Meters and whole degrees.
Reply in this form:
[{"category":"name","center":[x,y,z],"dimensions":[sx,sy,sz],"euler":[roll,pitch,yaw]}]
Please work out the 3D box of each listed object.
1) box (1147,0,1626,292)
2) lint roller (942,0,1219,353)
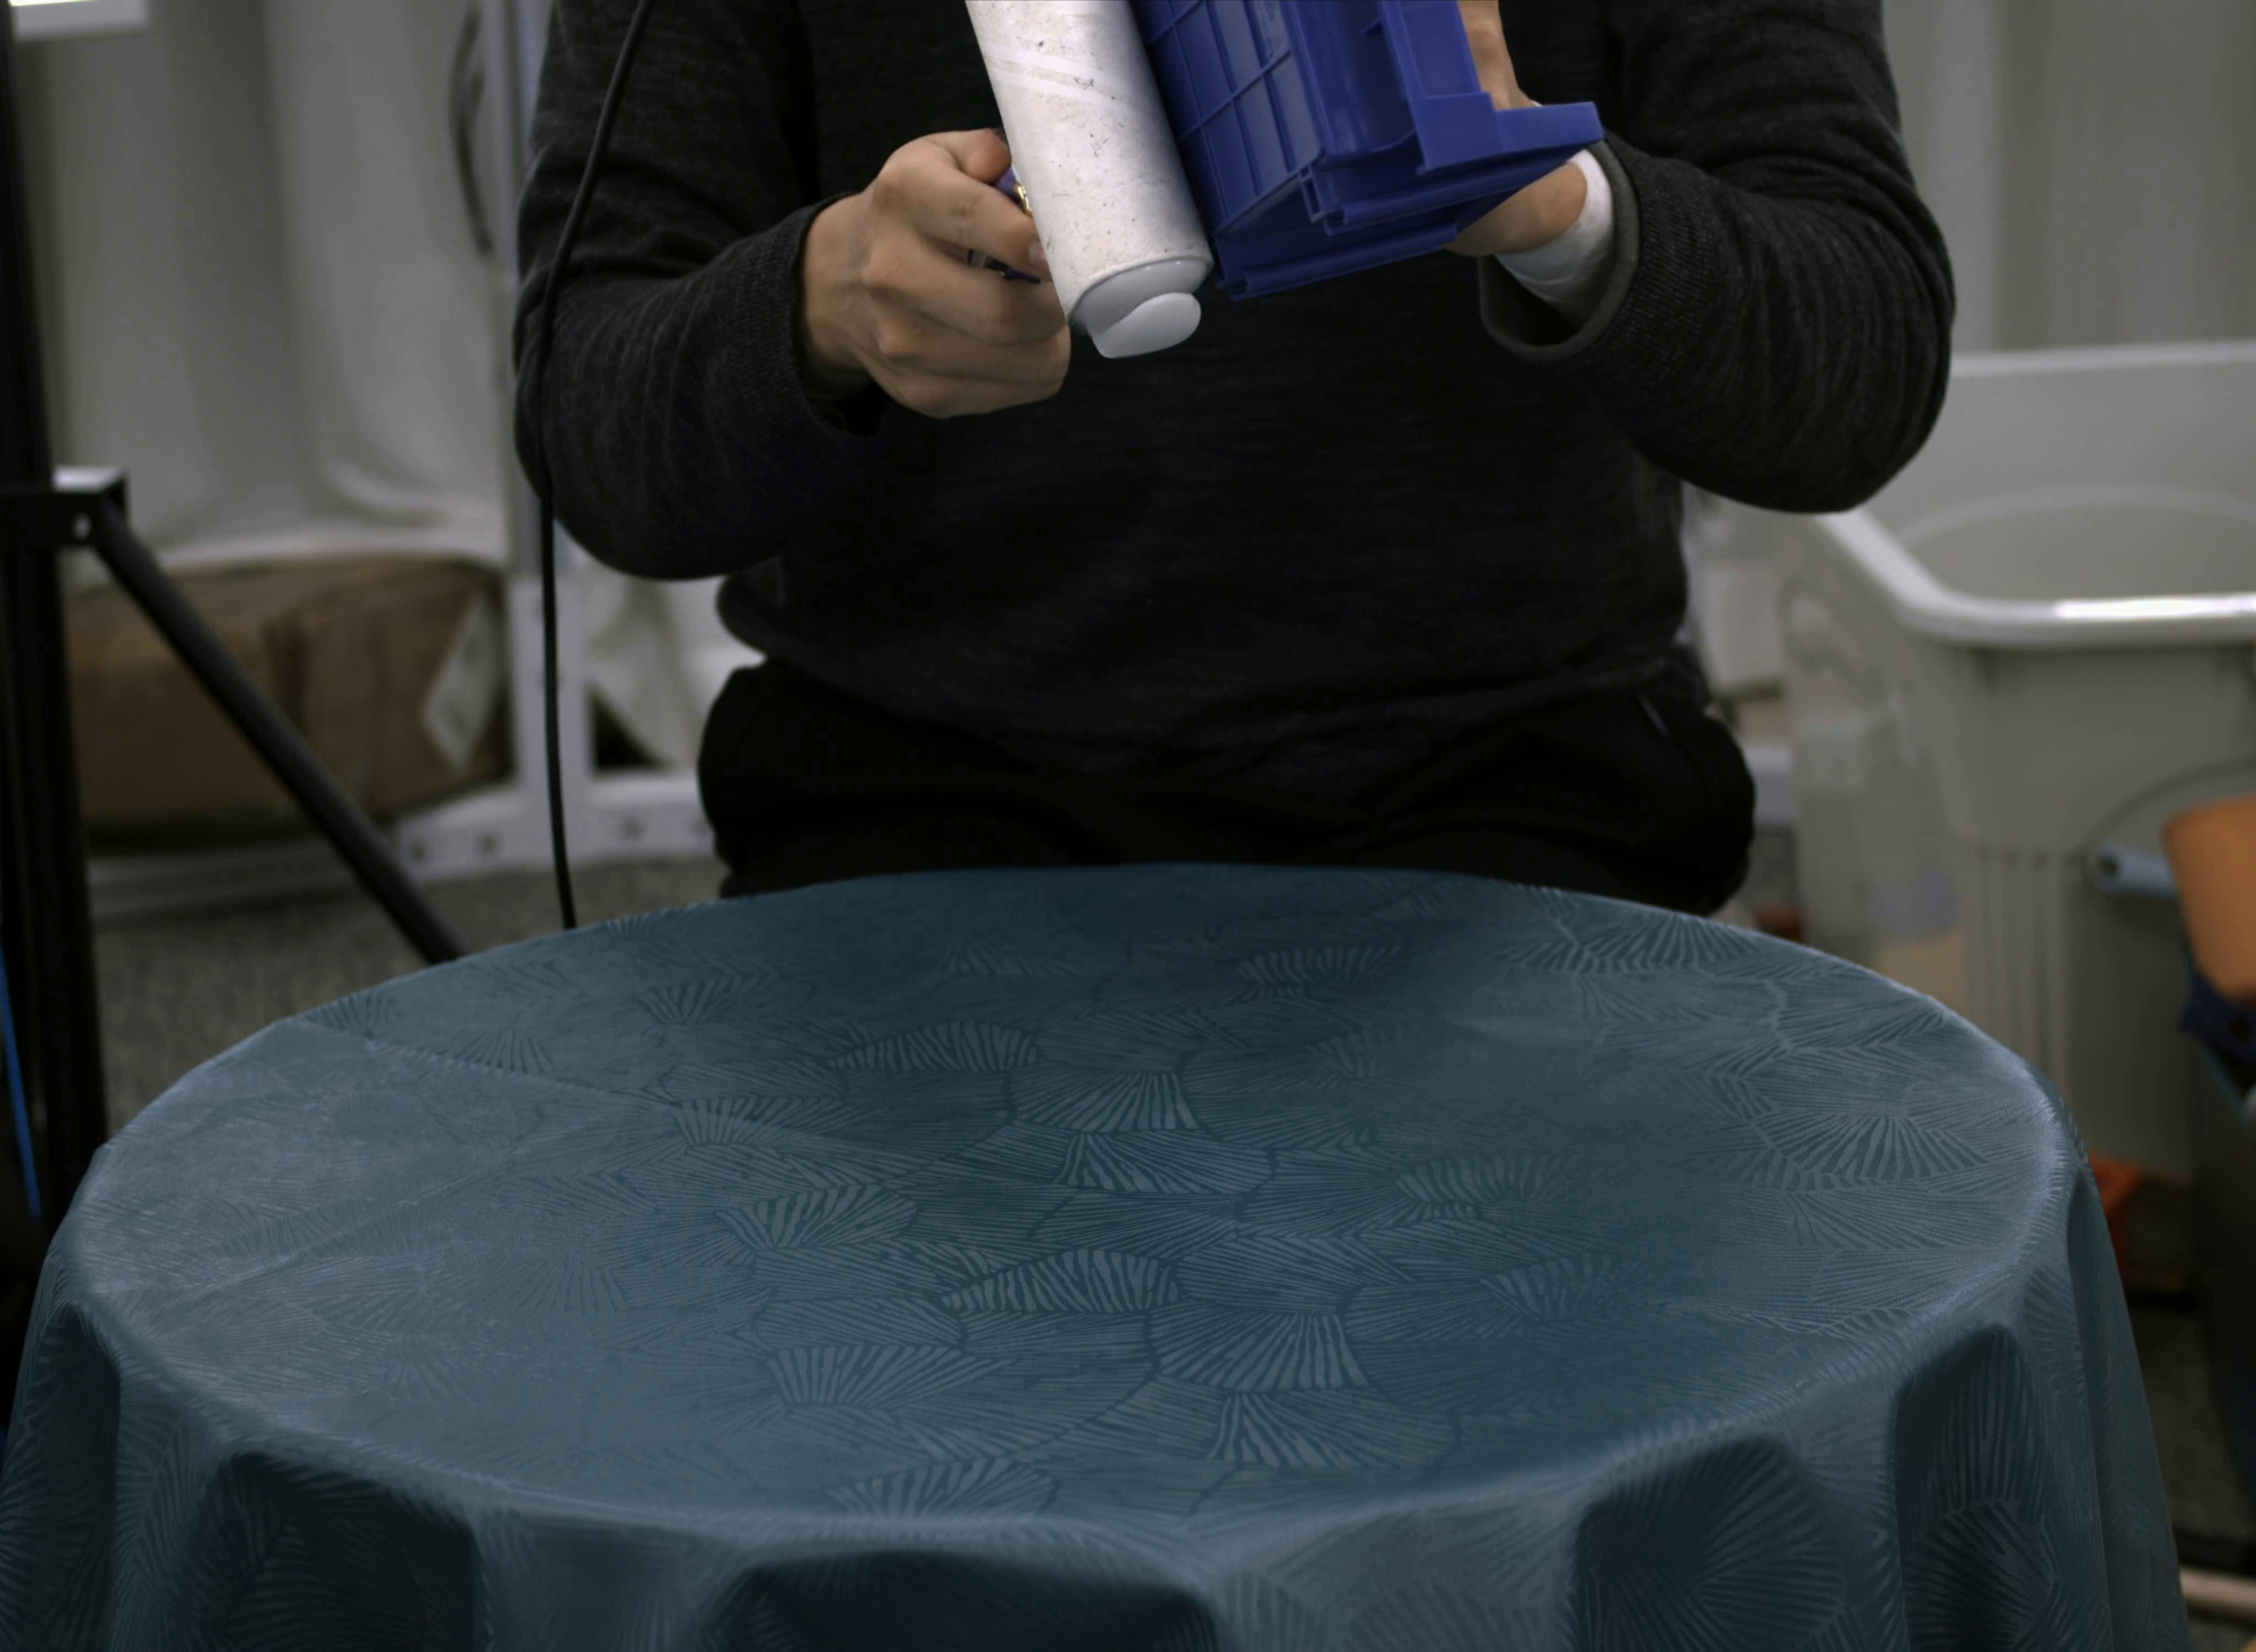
[{"category":"box","center":[0.068,-0.229,1.480],"dimensions":[0.080,0.125,0.181],"euler":[-14,-3,-17]},{"category":"lint roller","center":[-0.036,-0.186,1.606],"dimensions":[0.049,0.134,0.183],"euler":[-12,-10,-27]}]
